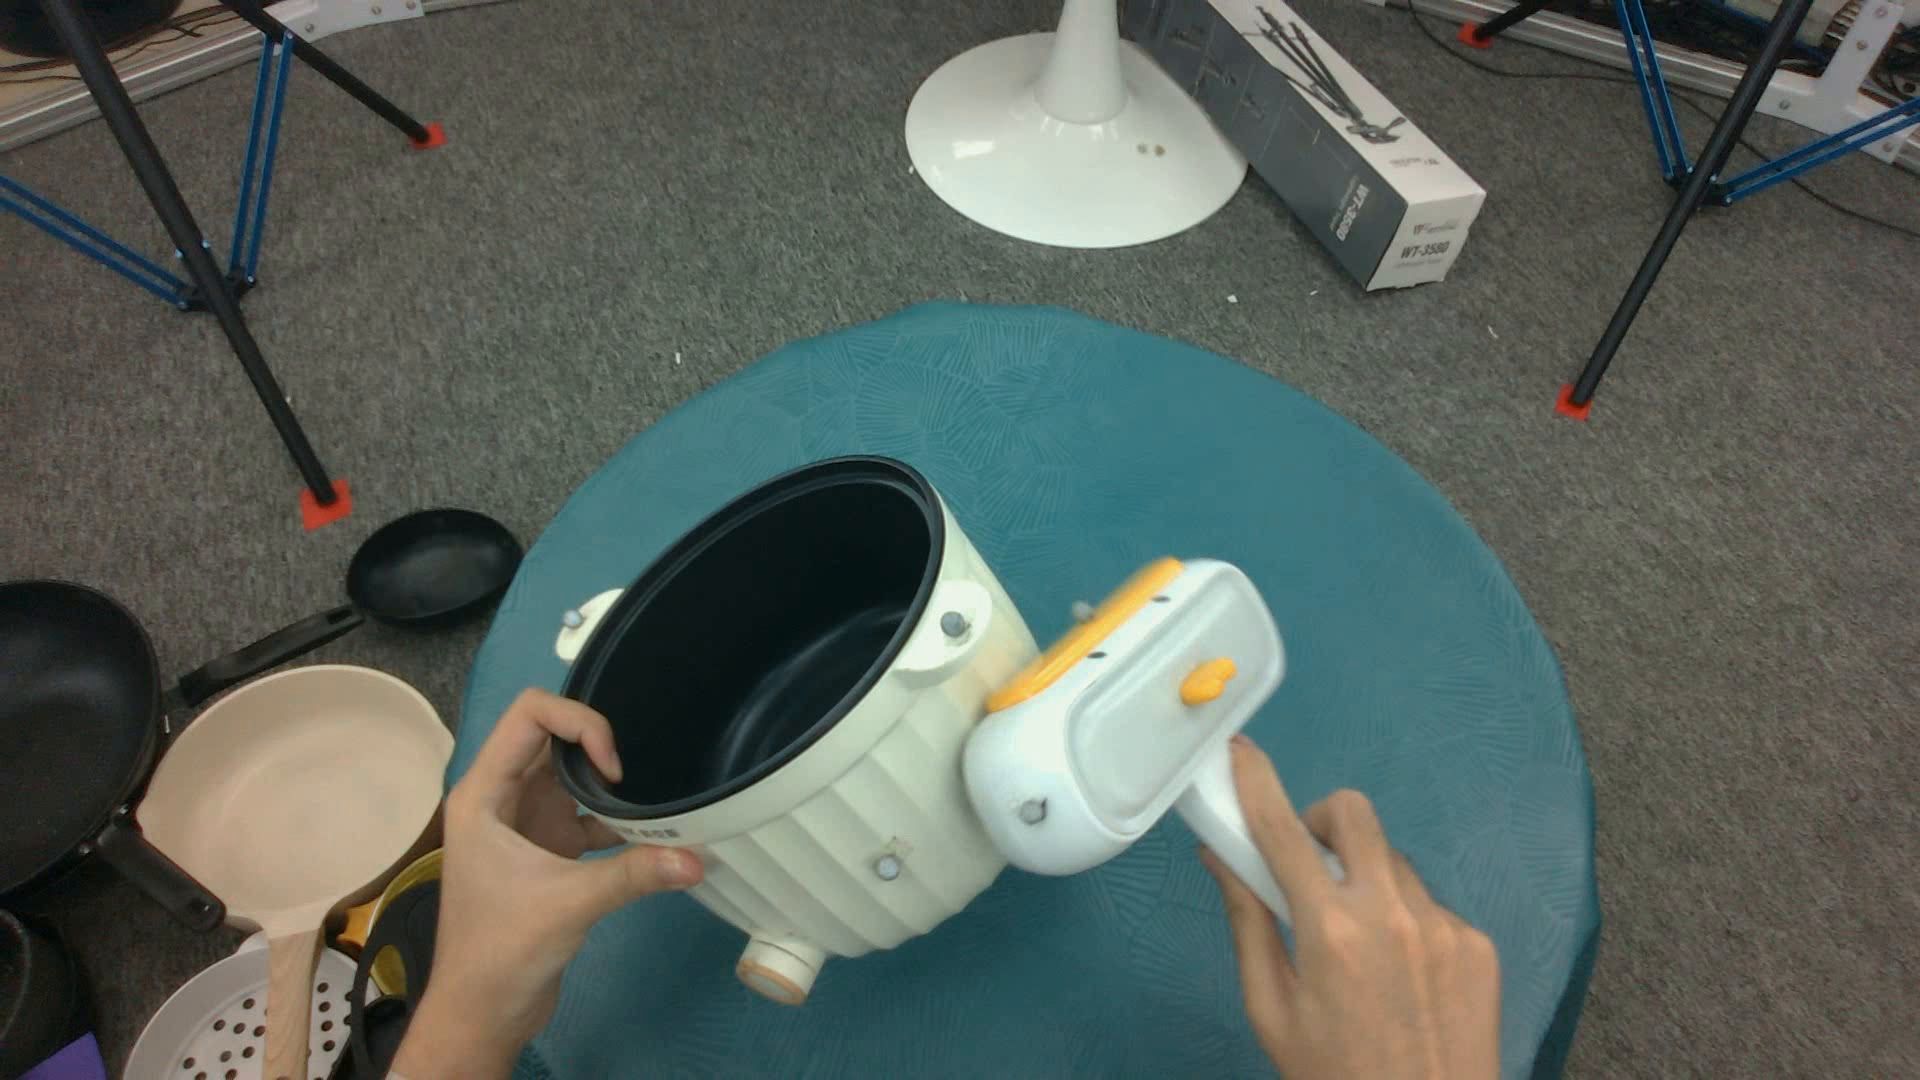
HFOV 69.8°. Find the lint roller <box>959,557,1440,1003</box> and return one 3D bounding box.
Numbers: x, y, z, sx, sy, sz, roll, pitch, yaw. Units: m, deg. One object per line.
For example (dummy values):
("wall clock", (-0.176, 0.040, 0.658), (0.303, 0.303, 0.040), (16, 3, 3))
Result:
("lint roller", (0.110, 0.107, 0.549), (0.192, 0.074, 0.194), (54, 35, 3))

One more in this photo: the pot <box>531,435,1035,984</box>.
("pot", (-0.063, 0.071, 0.574), (0.239, 0.142, 0.191), (-3, 44, 37))
